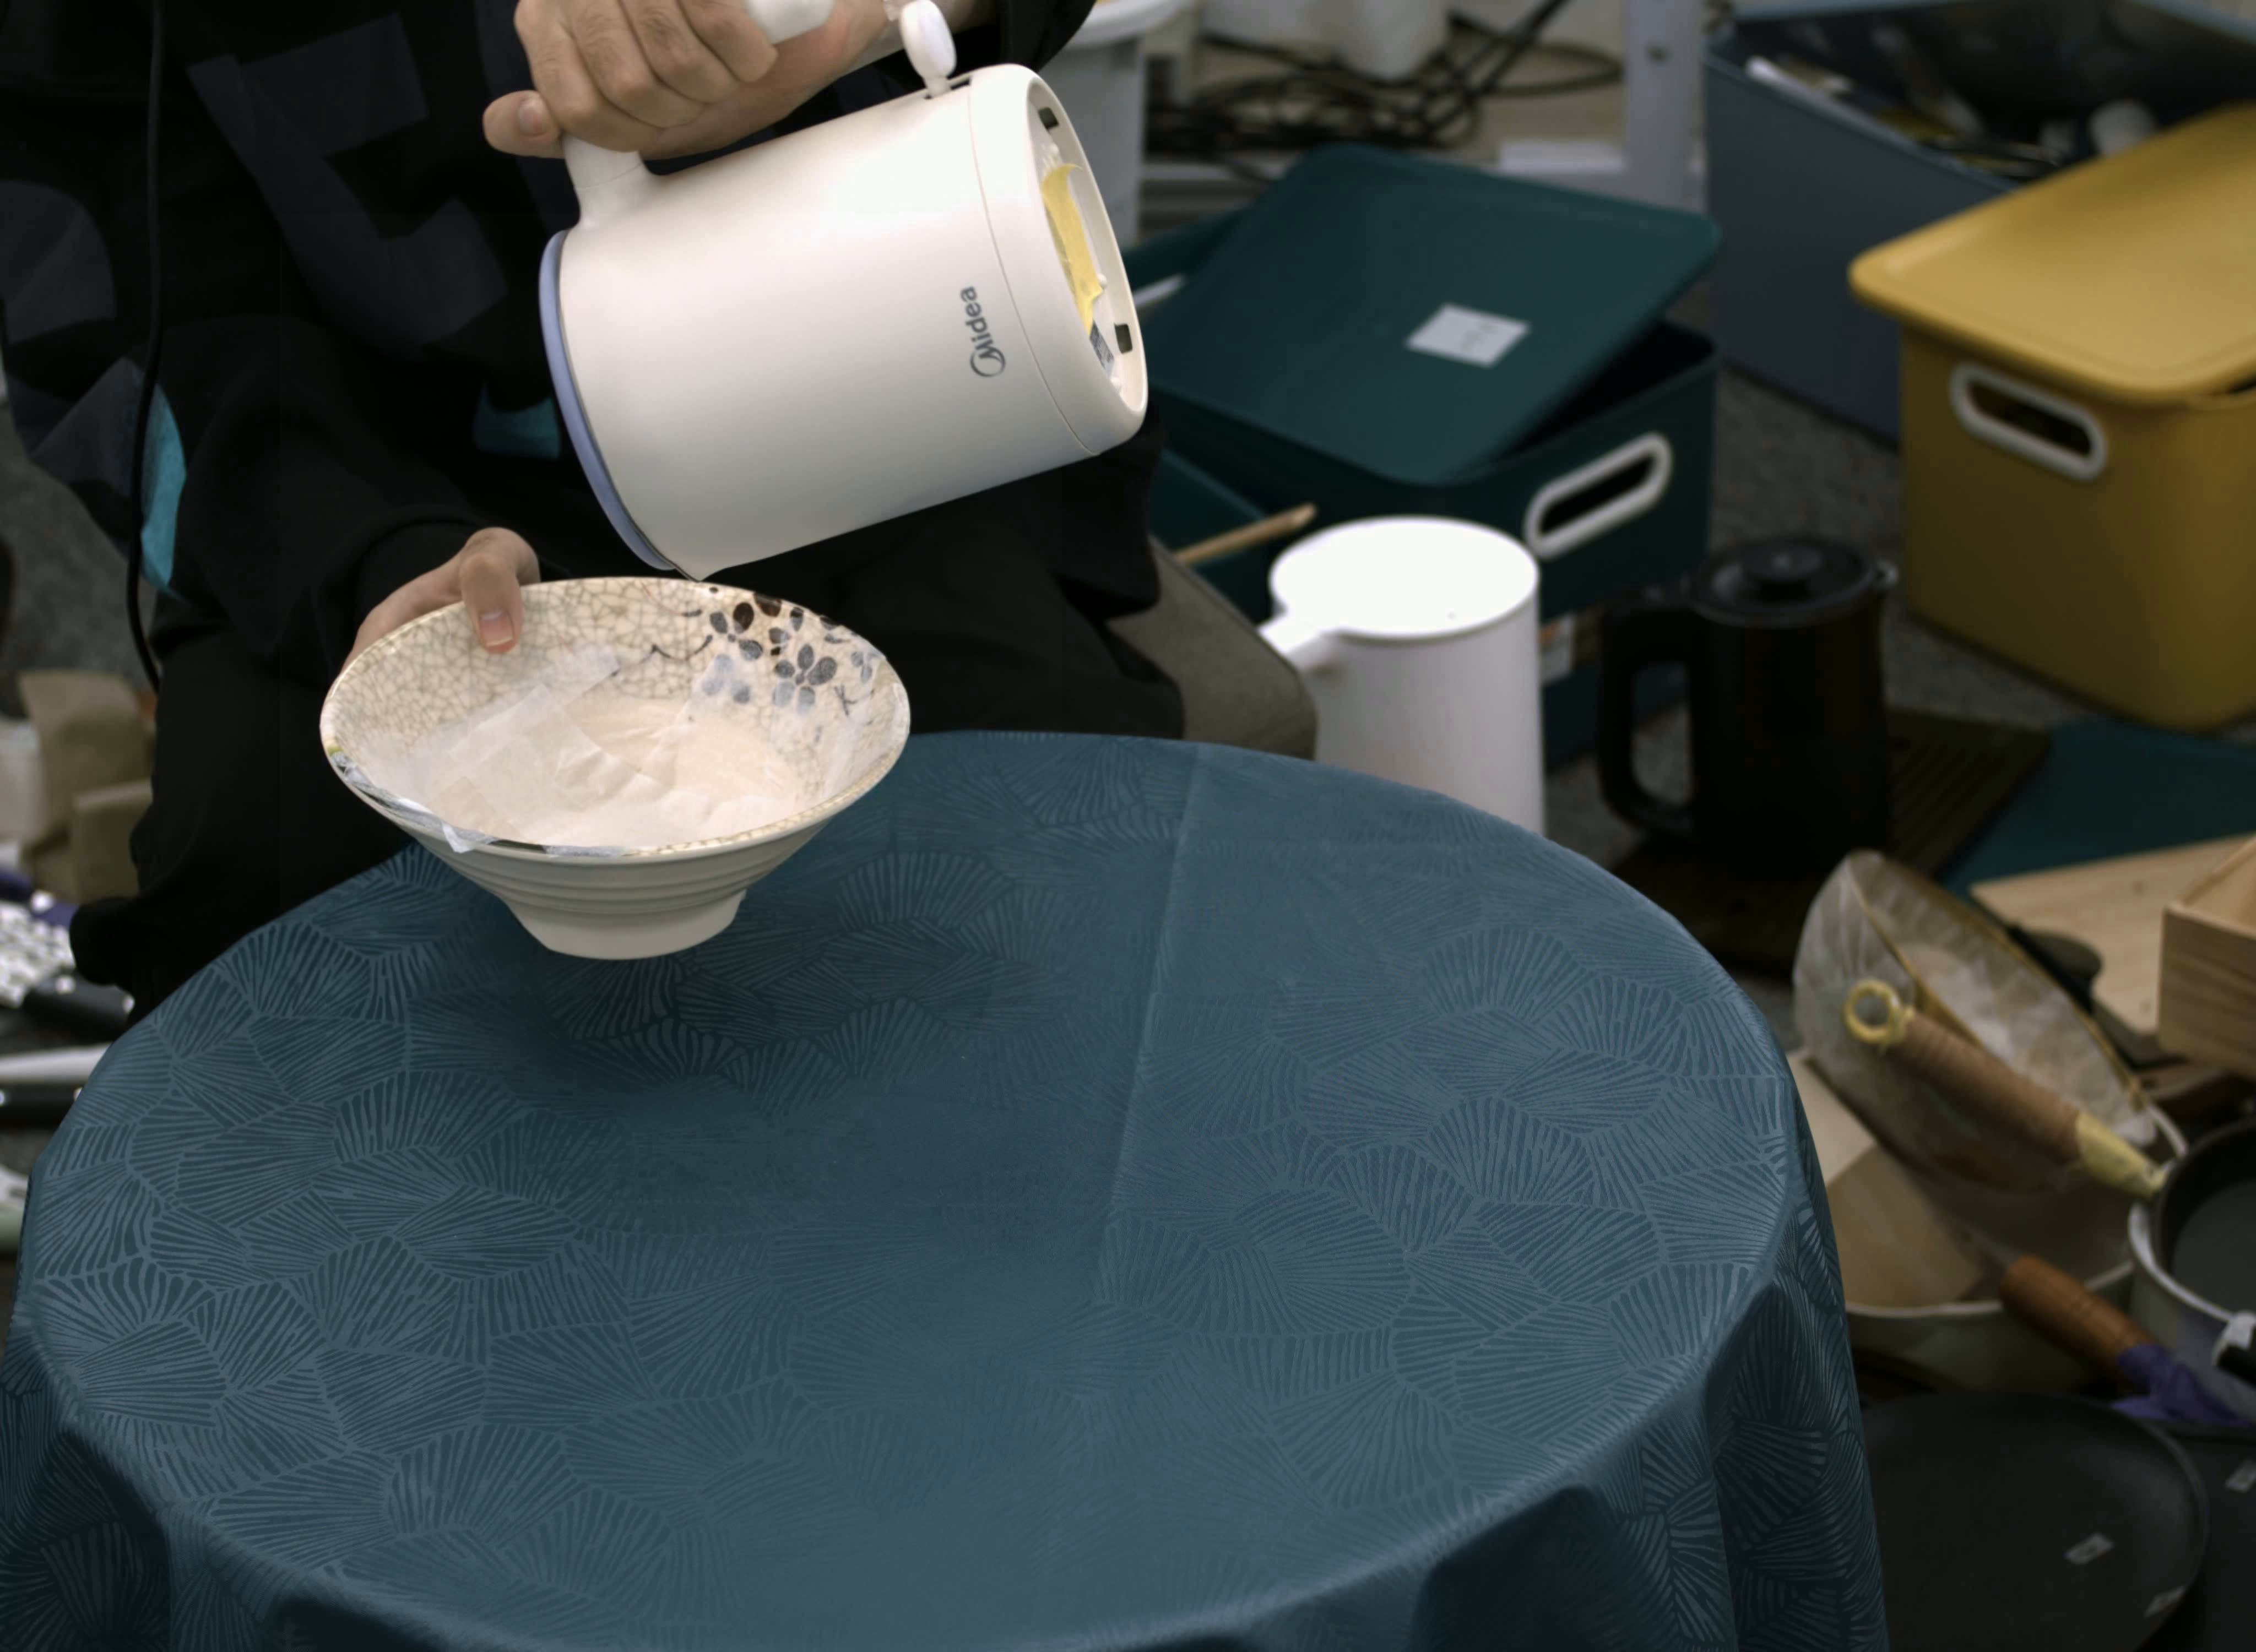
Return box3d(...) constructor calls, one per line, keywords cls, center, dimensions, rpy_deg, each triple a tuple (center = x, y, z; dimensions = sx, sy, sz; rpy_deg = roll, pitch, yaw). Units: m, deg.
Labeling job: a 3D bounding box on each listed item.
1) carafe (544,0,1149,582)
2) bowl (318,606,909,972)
box3d(cls="carafe", center=(-0.099, -0.189, 1.853), dimensions=(0.181, 0.190, 0.134), rpy_deg=(-15, 17, 8))
box3d(cls="bowl", center=(-0.178, -0.003, 1.952), dimensions=(0.203, 0.077, 0.207), rpy_deg=(2, 24, 0))
